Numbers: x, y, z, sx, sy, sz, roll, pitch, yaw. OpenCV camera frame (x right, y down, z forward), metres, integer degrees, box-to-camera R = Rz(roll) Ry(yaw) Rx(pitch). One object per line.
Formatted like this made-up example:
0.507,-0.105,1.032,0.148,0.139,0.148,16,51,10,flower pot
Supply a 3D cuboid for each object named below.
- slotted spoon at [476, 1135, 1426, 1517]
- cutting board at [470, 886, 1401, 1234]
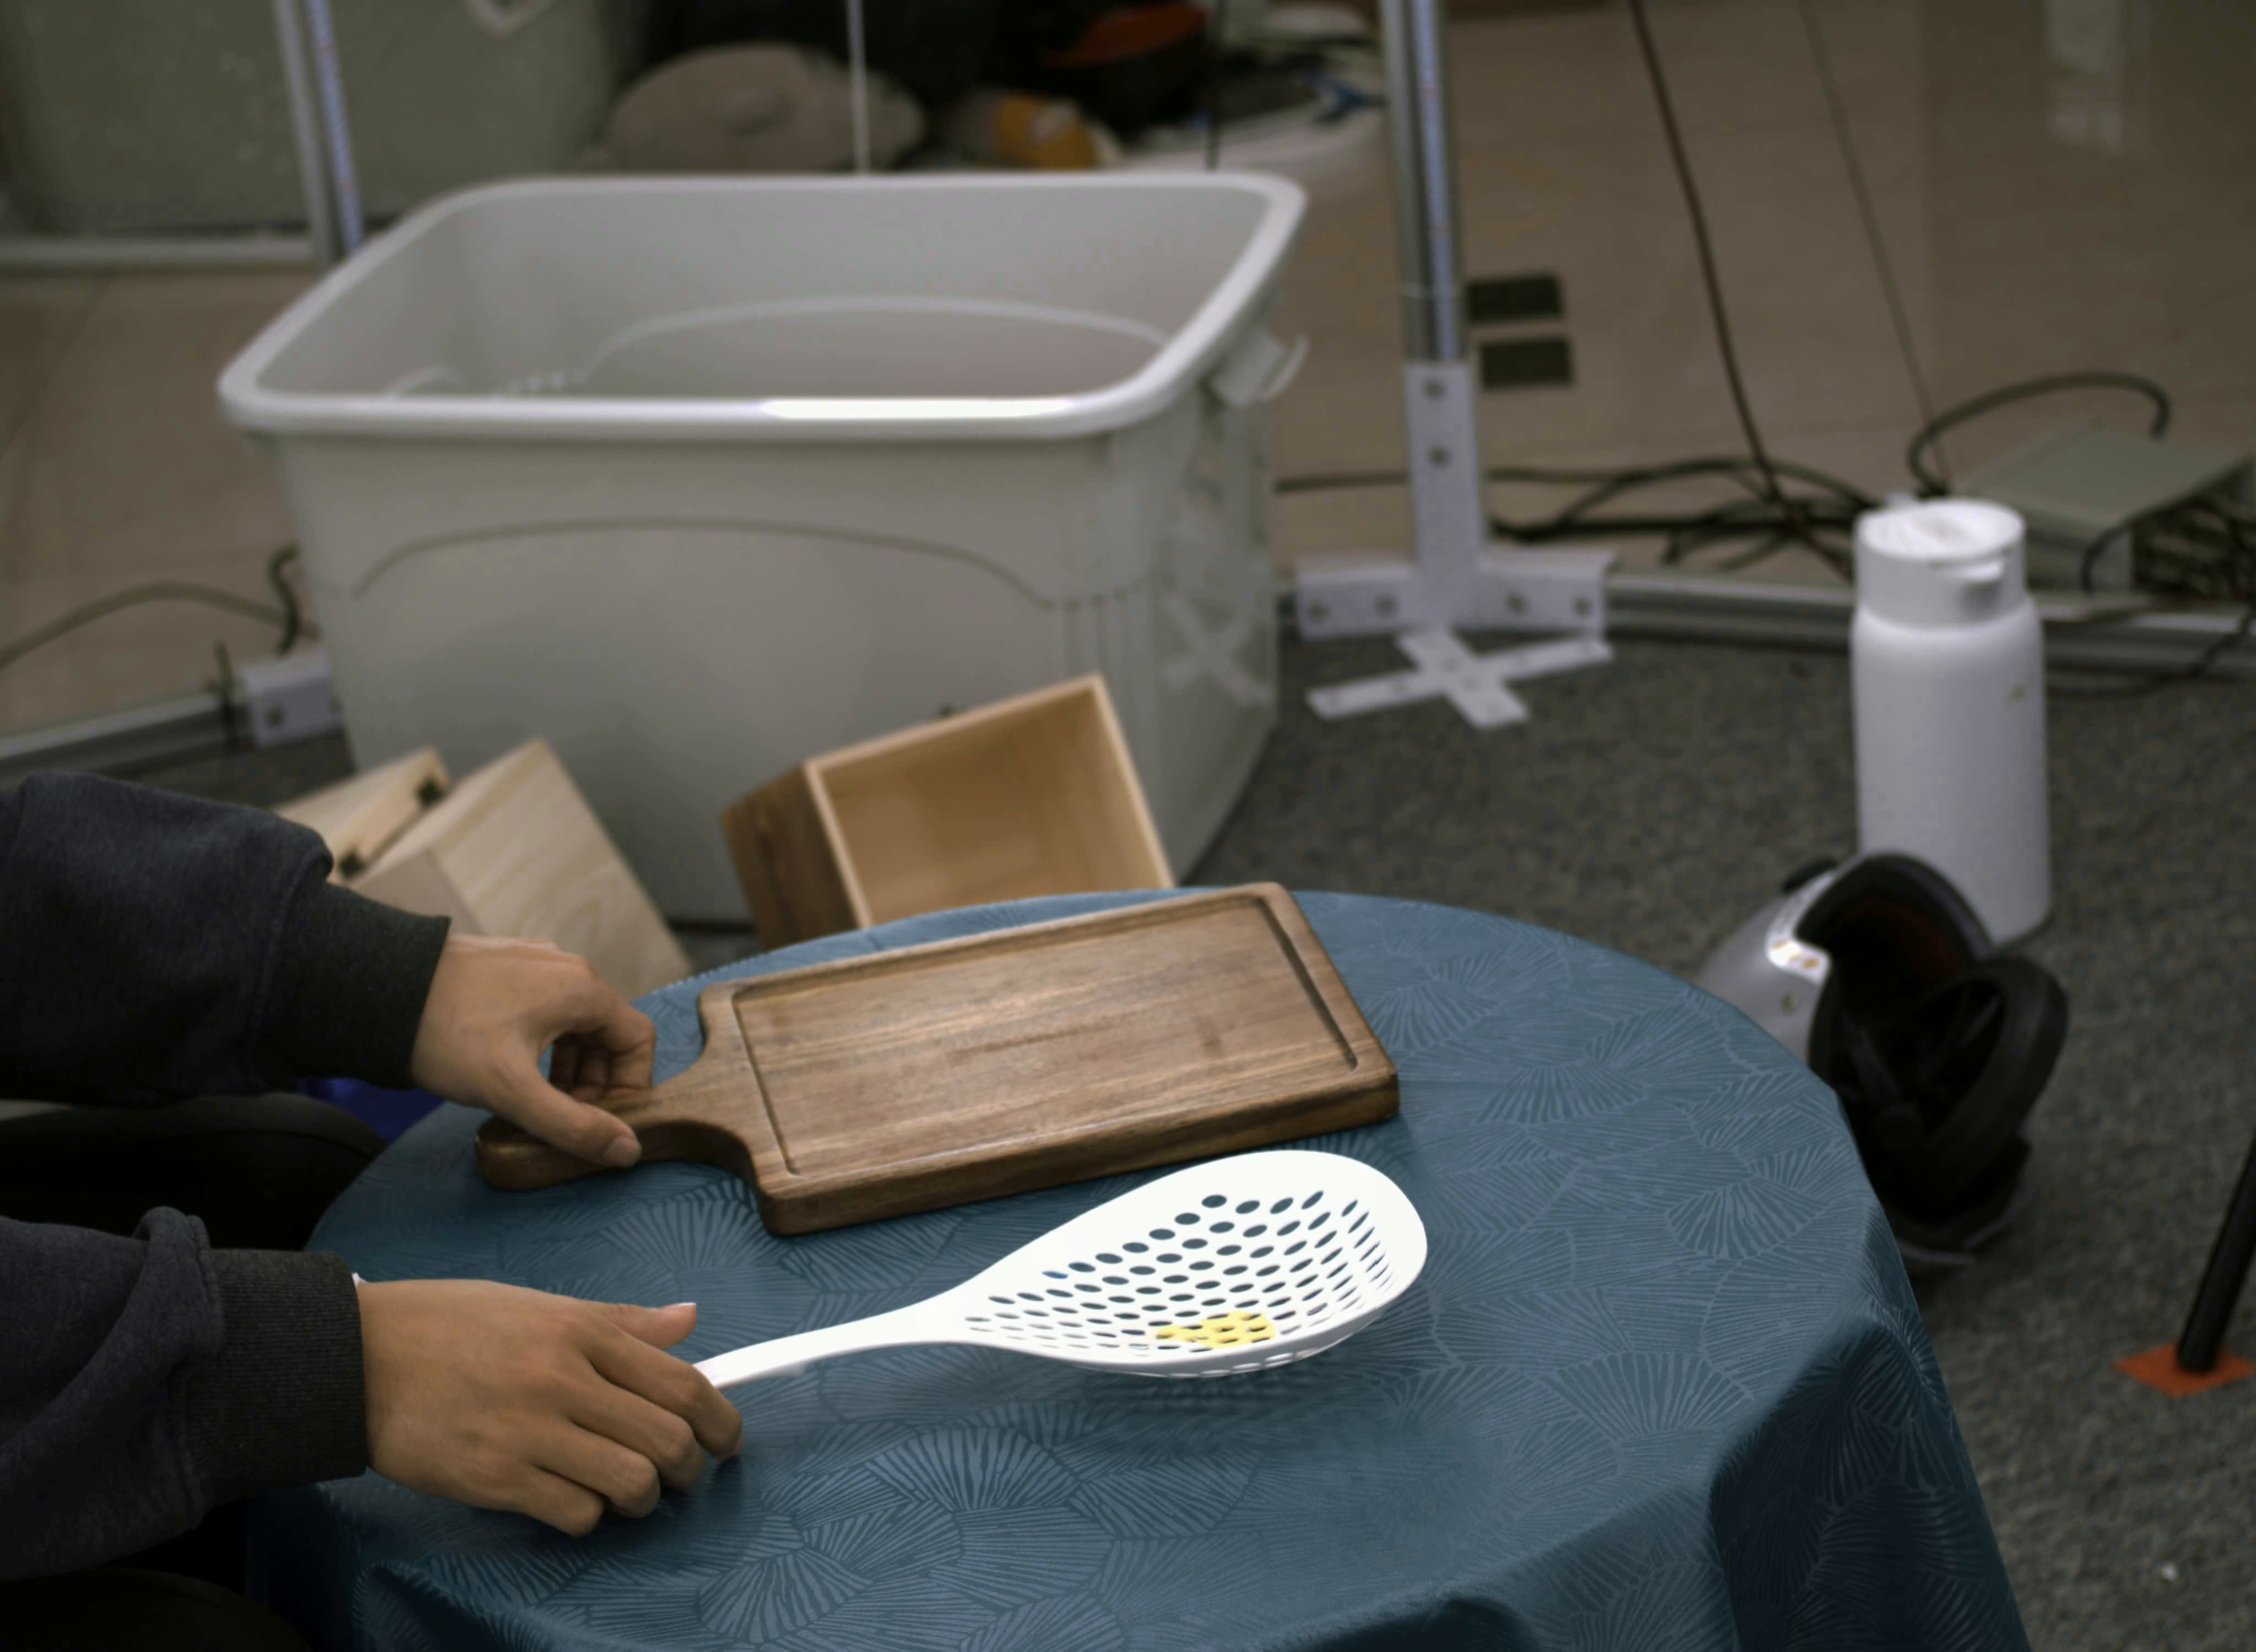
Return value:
-0.064,0.185,2.014,0.347,0.051,0.135,-10,28,-8,slotted spoon
-0.085,0.097,2.232,0.351,0.023,0.198,-10,24,-9,cutting board
